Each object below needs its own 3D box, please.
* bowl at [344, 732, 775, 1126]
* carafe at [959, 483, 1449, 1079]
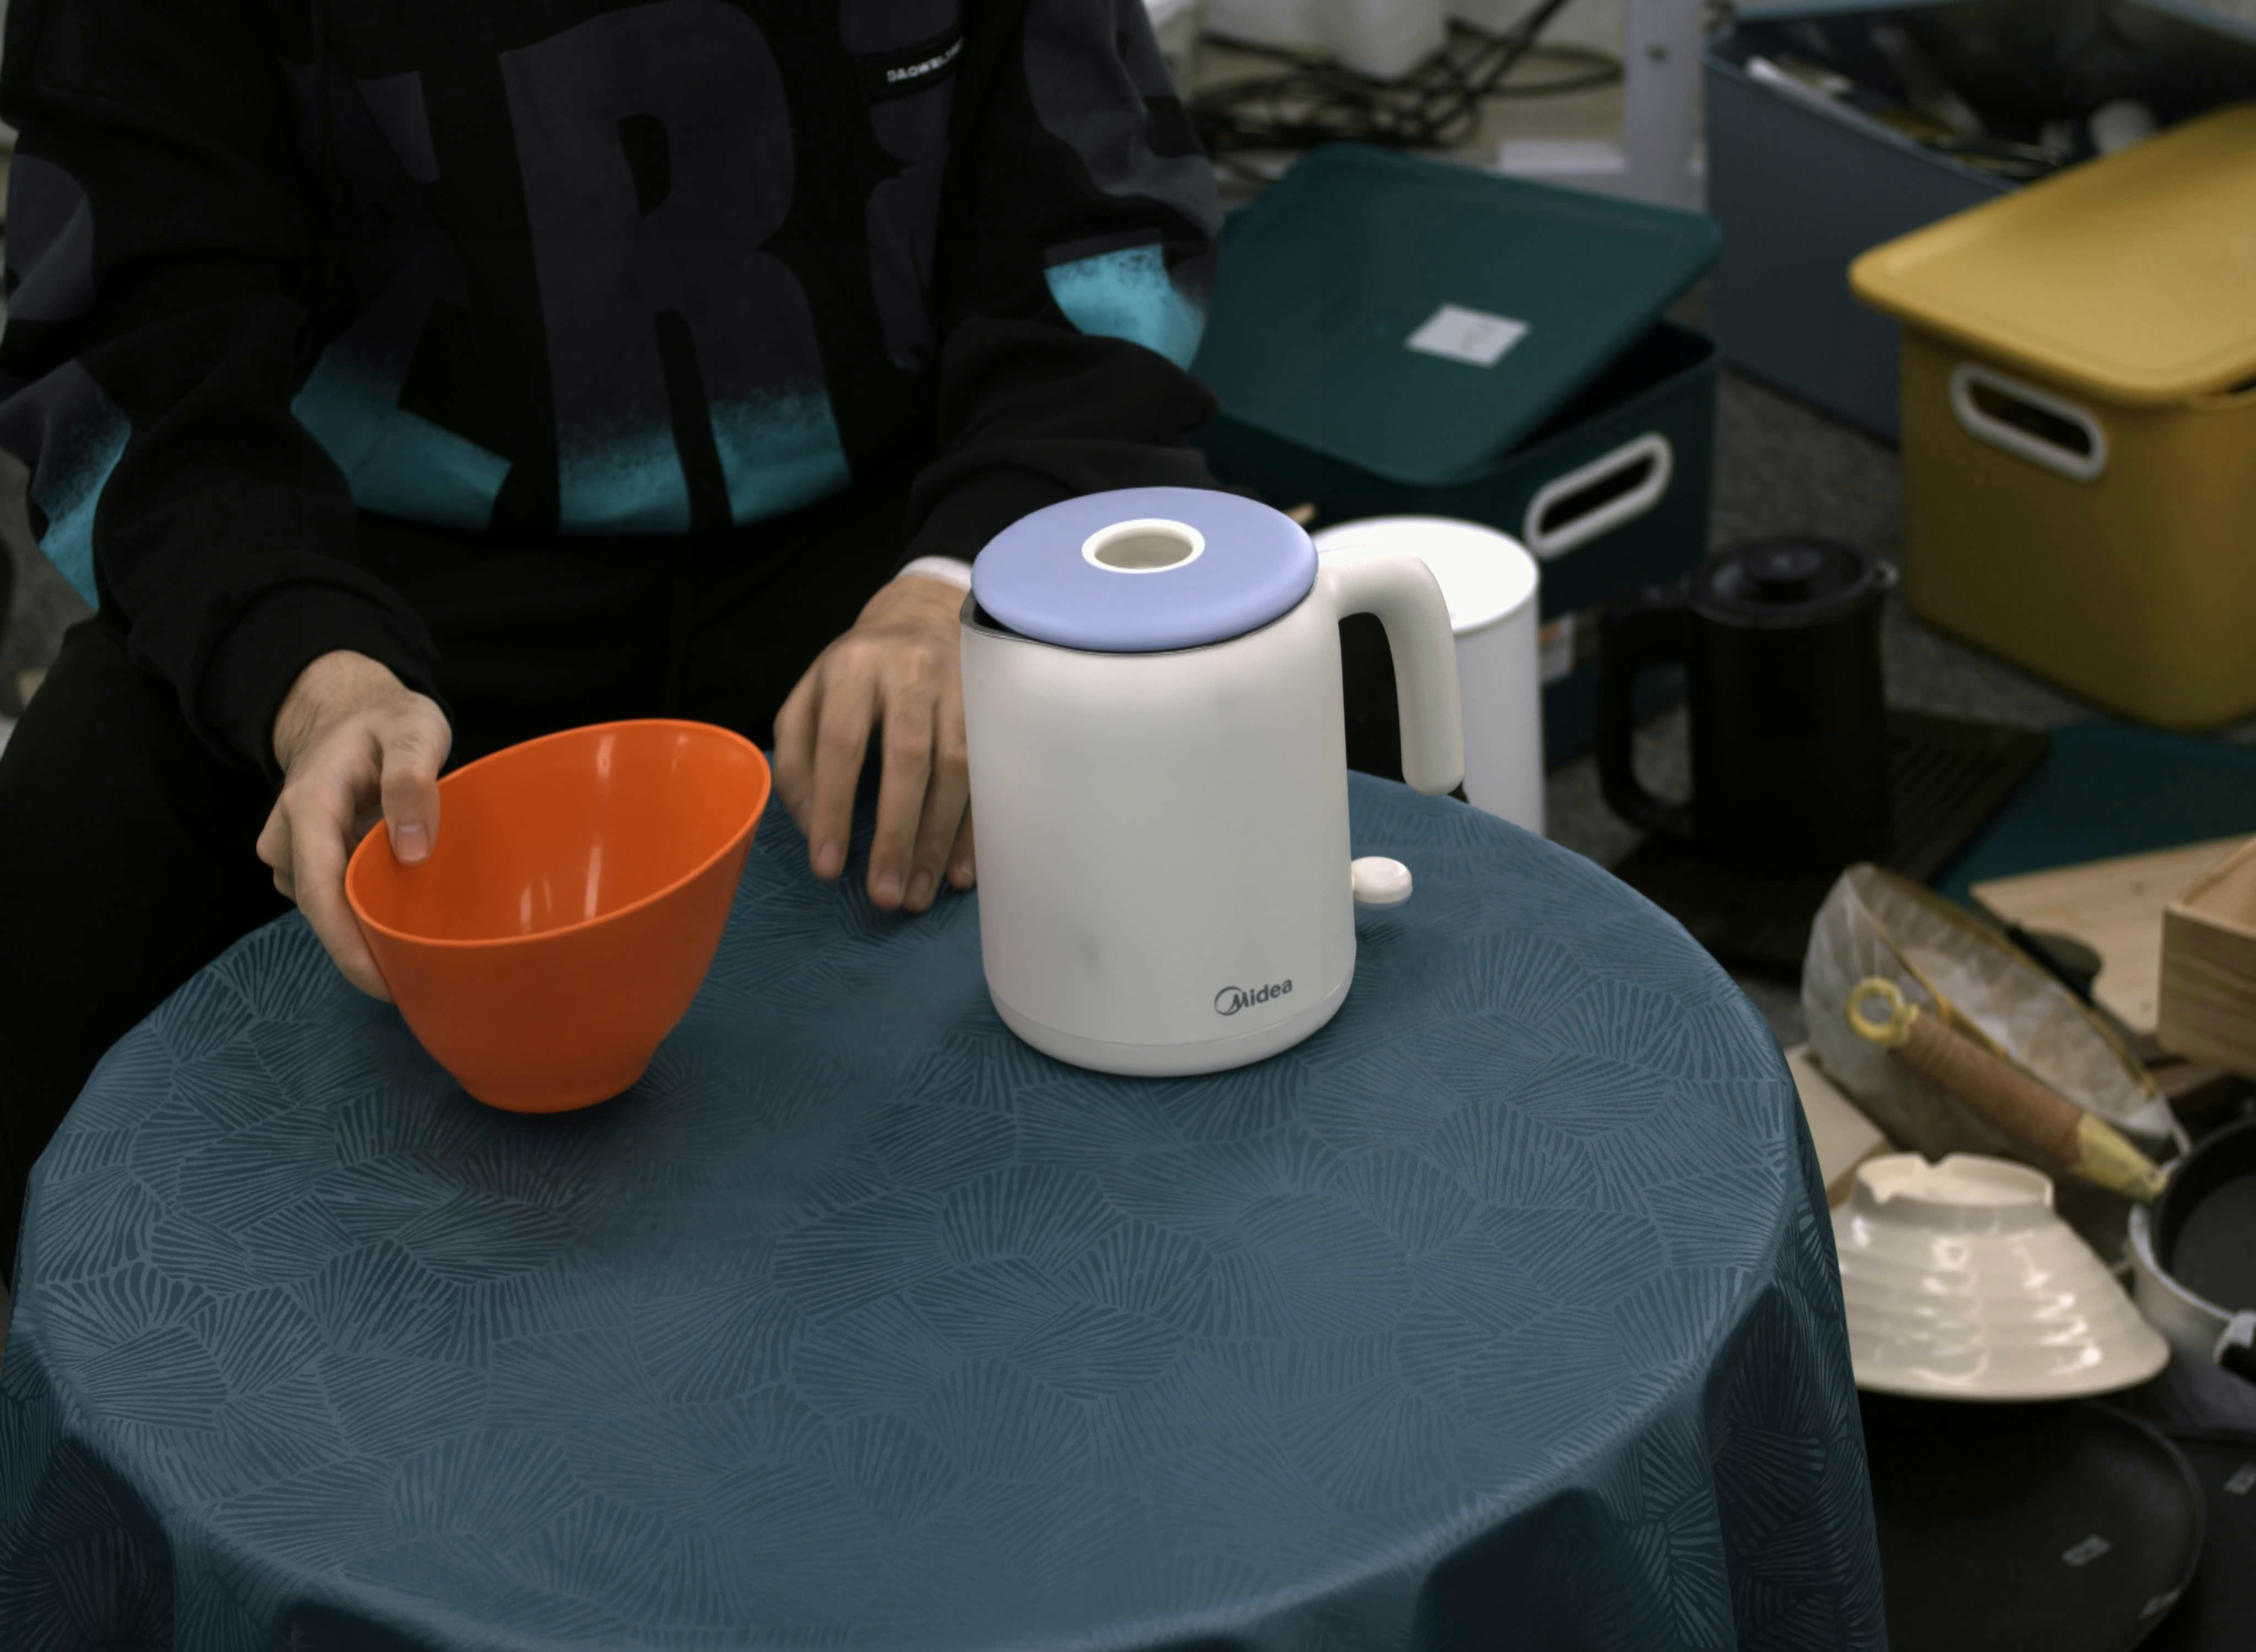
[{"bbox_3d":[-0.190,0.041,1.910,0.147,0.103,0.150,-2,27,1],"label":"bowl"},{"bbox_3d":[0.030,-0.022,1.951,0.192,0.180,0.133,-14,30,-26],"label":"carafe"}]
